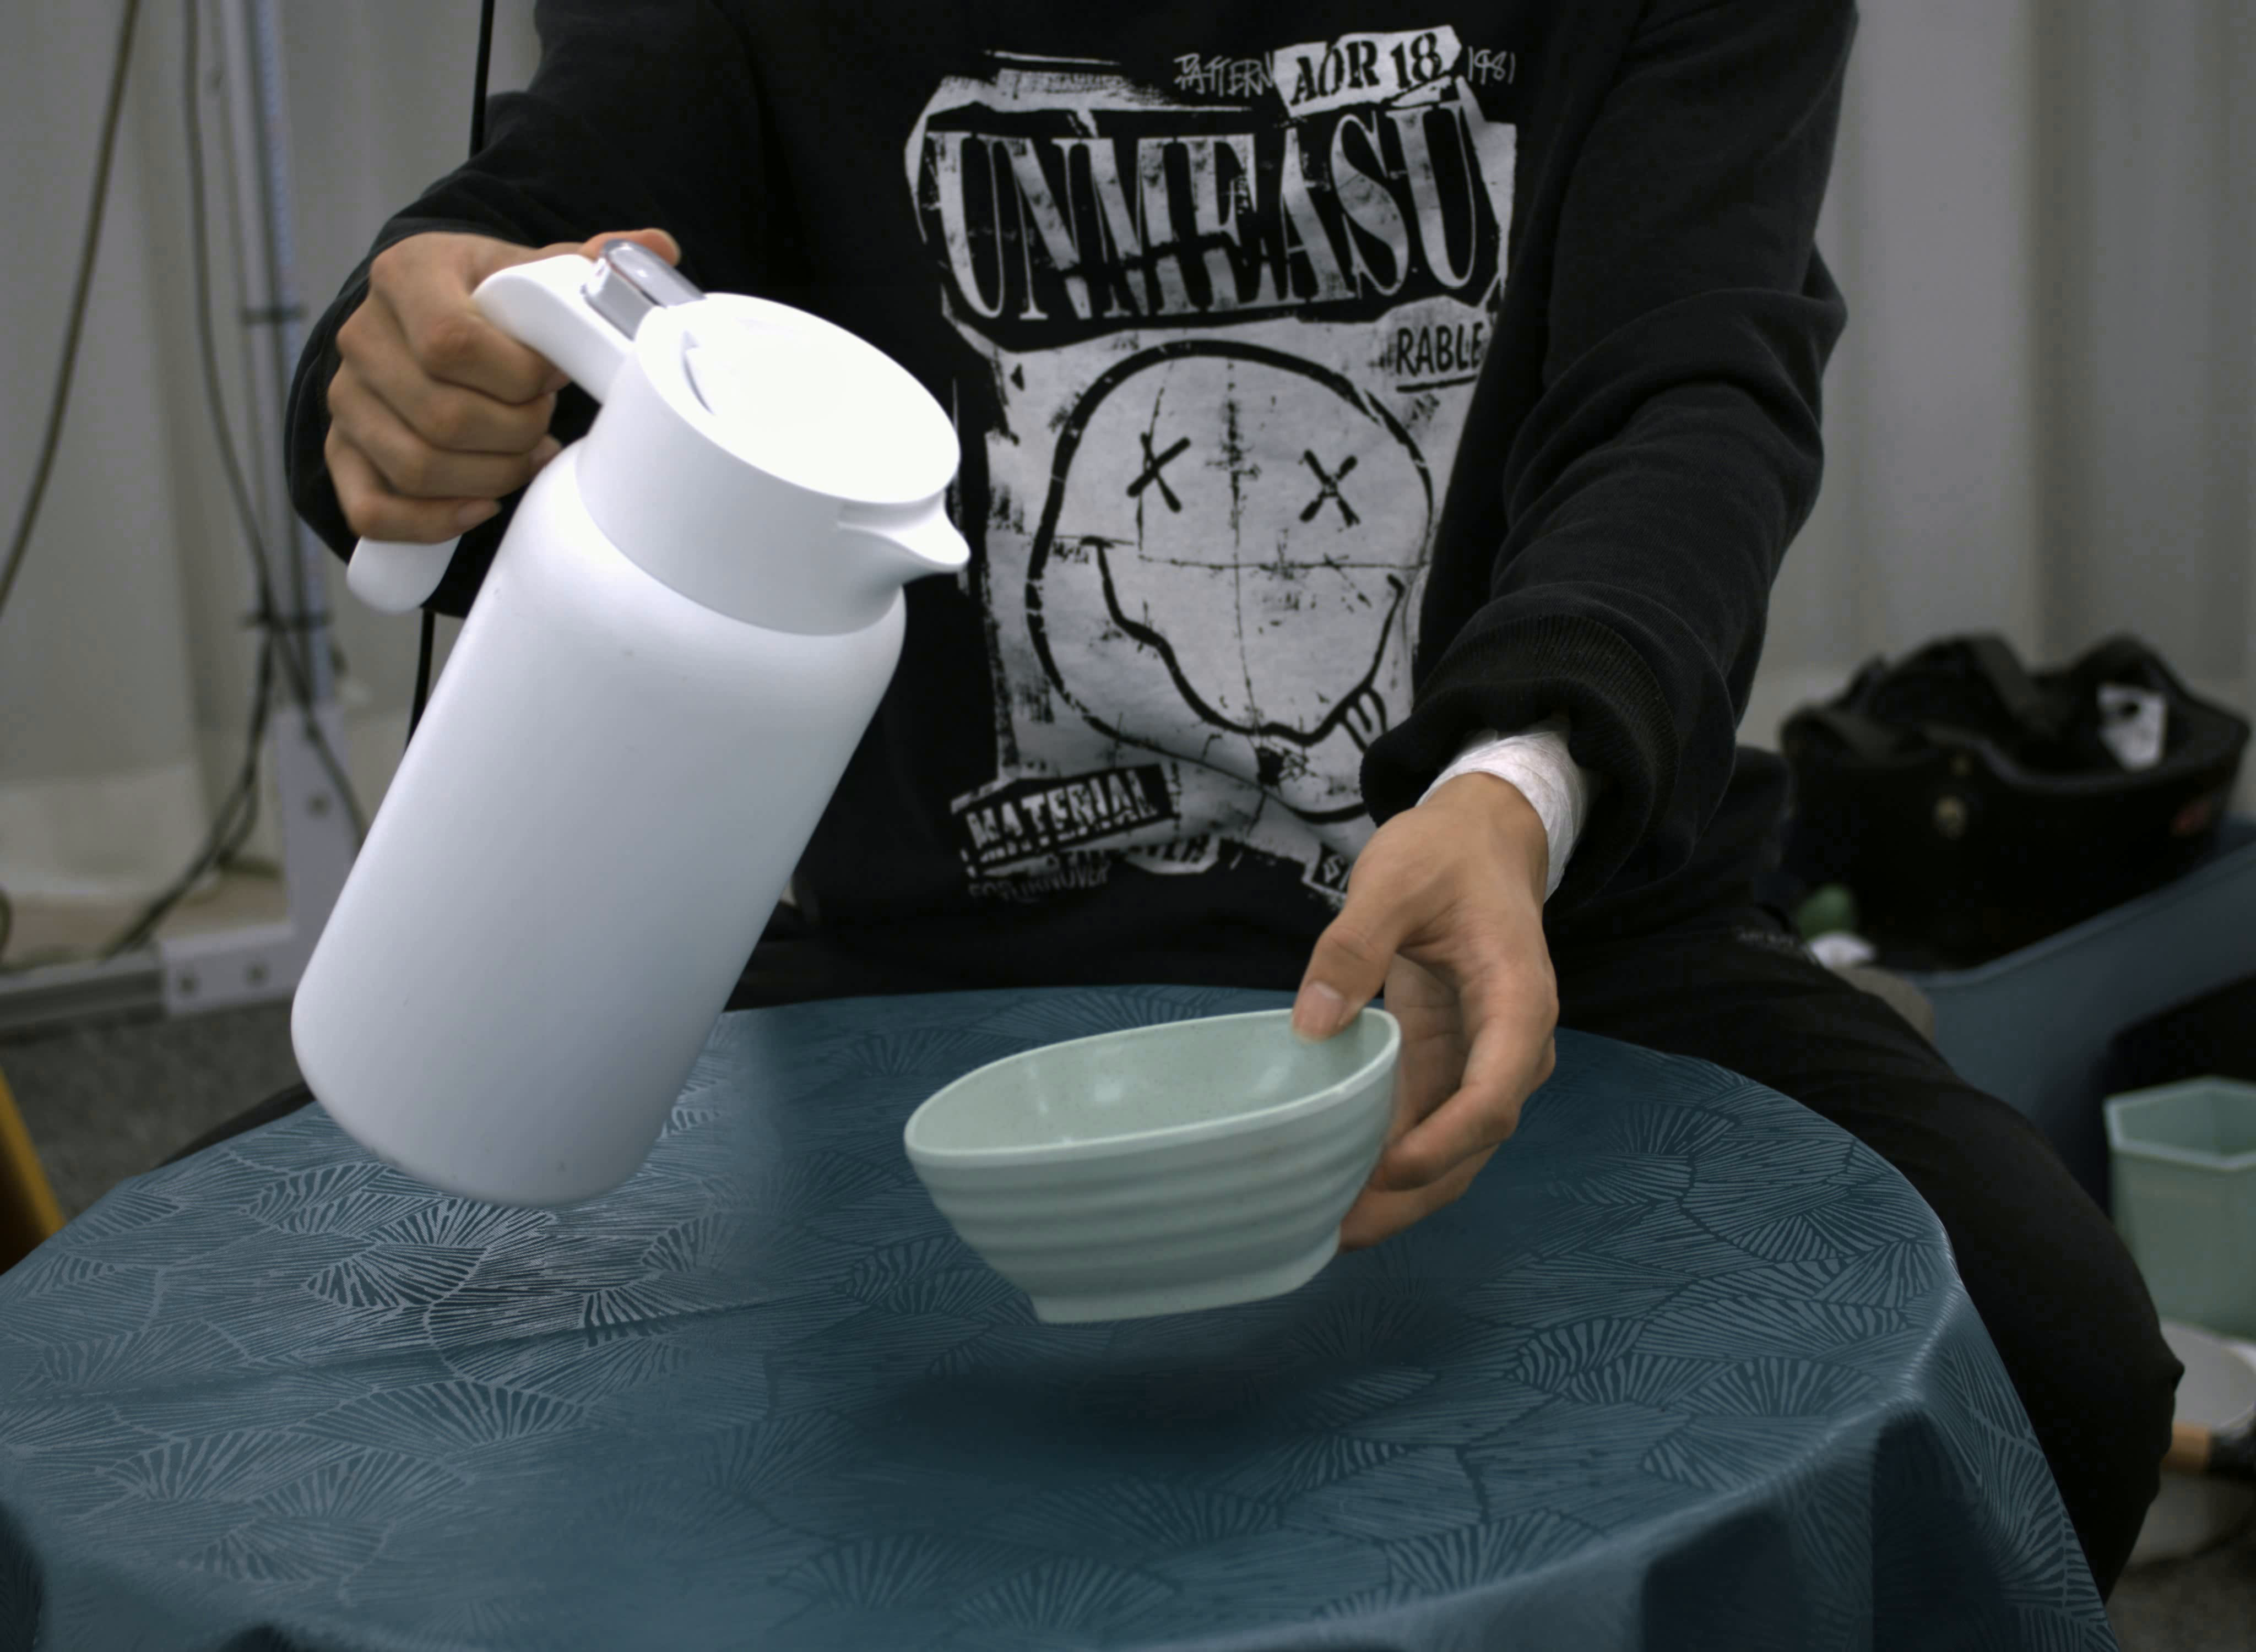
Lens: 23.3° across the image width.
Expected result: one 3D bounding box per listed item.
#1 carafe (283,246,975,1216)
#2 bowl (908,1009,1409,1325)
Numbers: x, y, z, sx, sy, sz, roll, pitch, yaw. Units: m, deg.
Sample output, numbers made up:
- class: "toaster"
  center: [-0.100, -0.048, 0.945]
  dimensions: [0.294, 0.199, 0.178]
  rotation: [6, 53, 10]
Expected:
- class: "carafe"
  center: [-0.160, -0.030, 1.592]
  dimensions: [0.174, 0.267, 0.124]
  rotation: [38, 32, 19]
- class: "bowl"
  center: [0.013, 0.098, 1.522]
  dimensions: [0.151, 0.058, 0.152]
  rotation: [-9, 10, 1]
